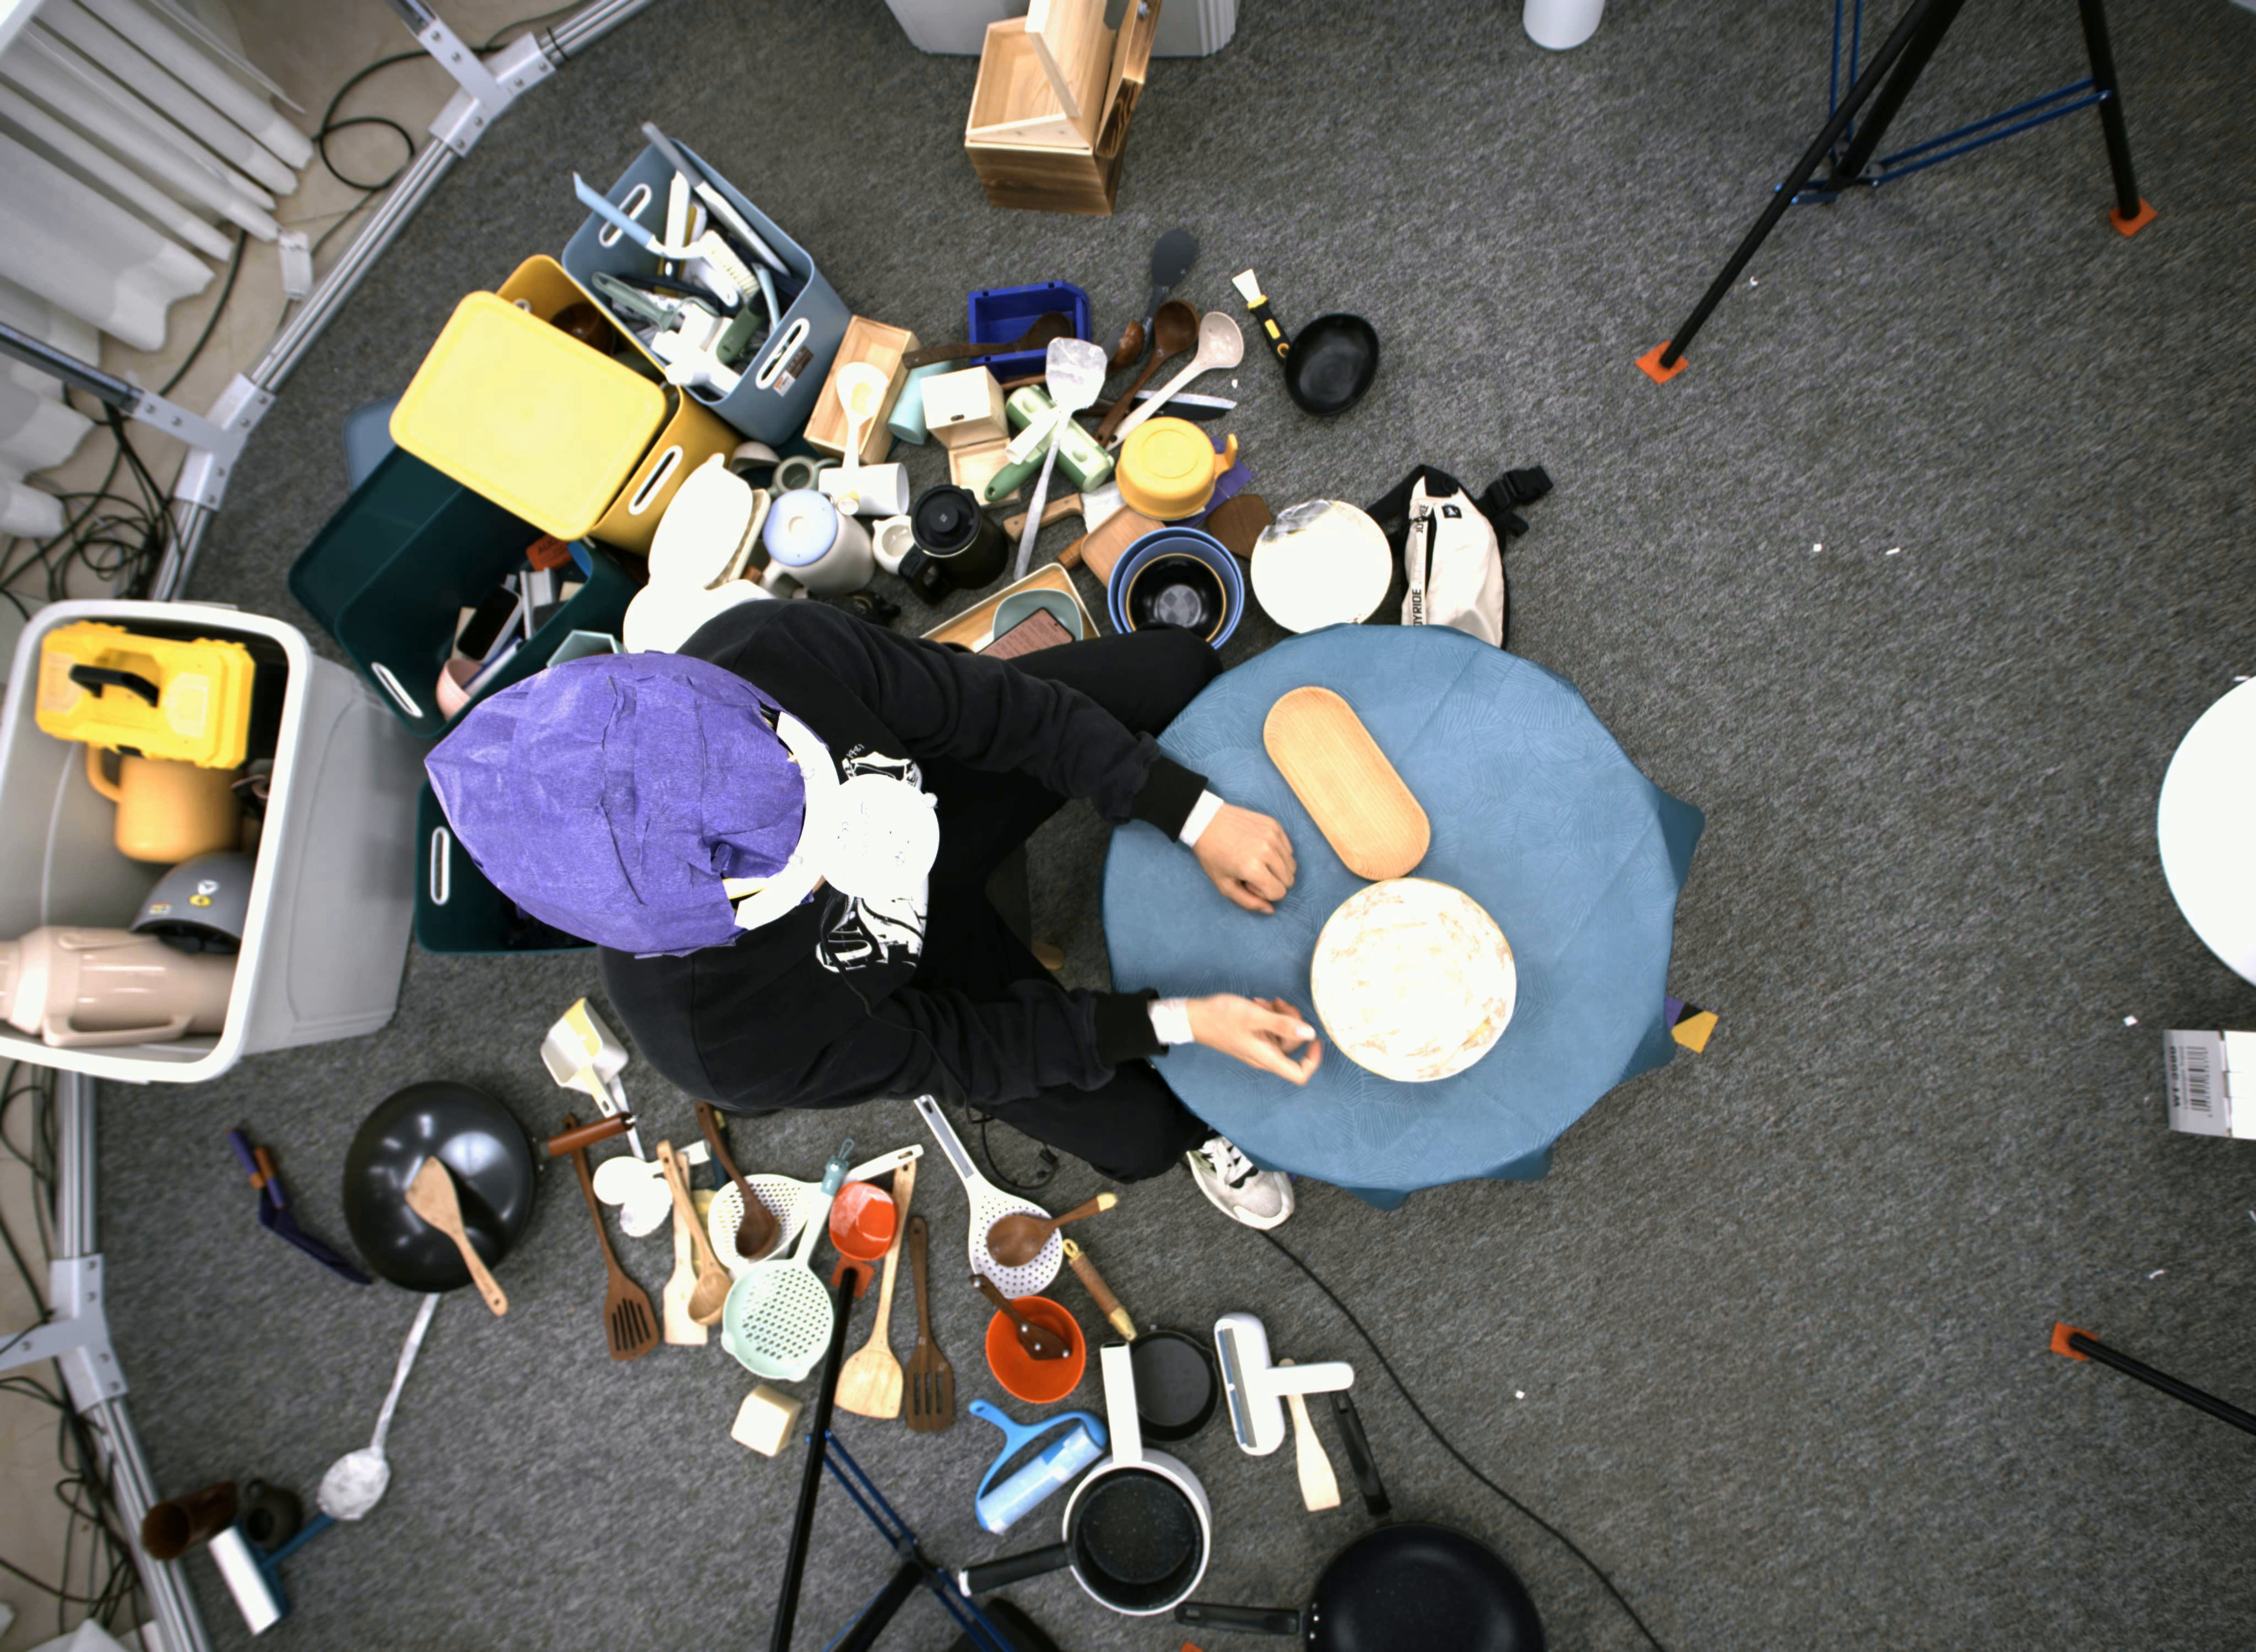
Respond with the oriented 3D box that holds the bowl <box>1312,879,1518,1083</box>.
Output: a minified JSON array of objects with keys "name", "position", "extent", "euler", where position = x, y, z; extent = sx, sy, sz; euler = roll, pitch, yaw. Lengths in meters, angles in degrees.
[{"name":"bowl","position":[0.289,0.152,1.409],"extent":[0.215,0.094,0.214],"euler":[-1,86,11]}]

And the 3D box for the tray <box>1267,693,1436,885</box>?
[{"name":"tray","position":[0.237,-0.041,1.471],"extent":[0.102,0.020,0.230],"euler":[-36,82,8]}]
